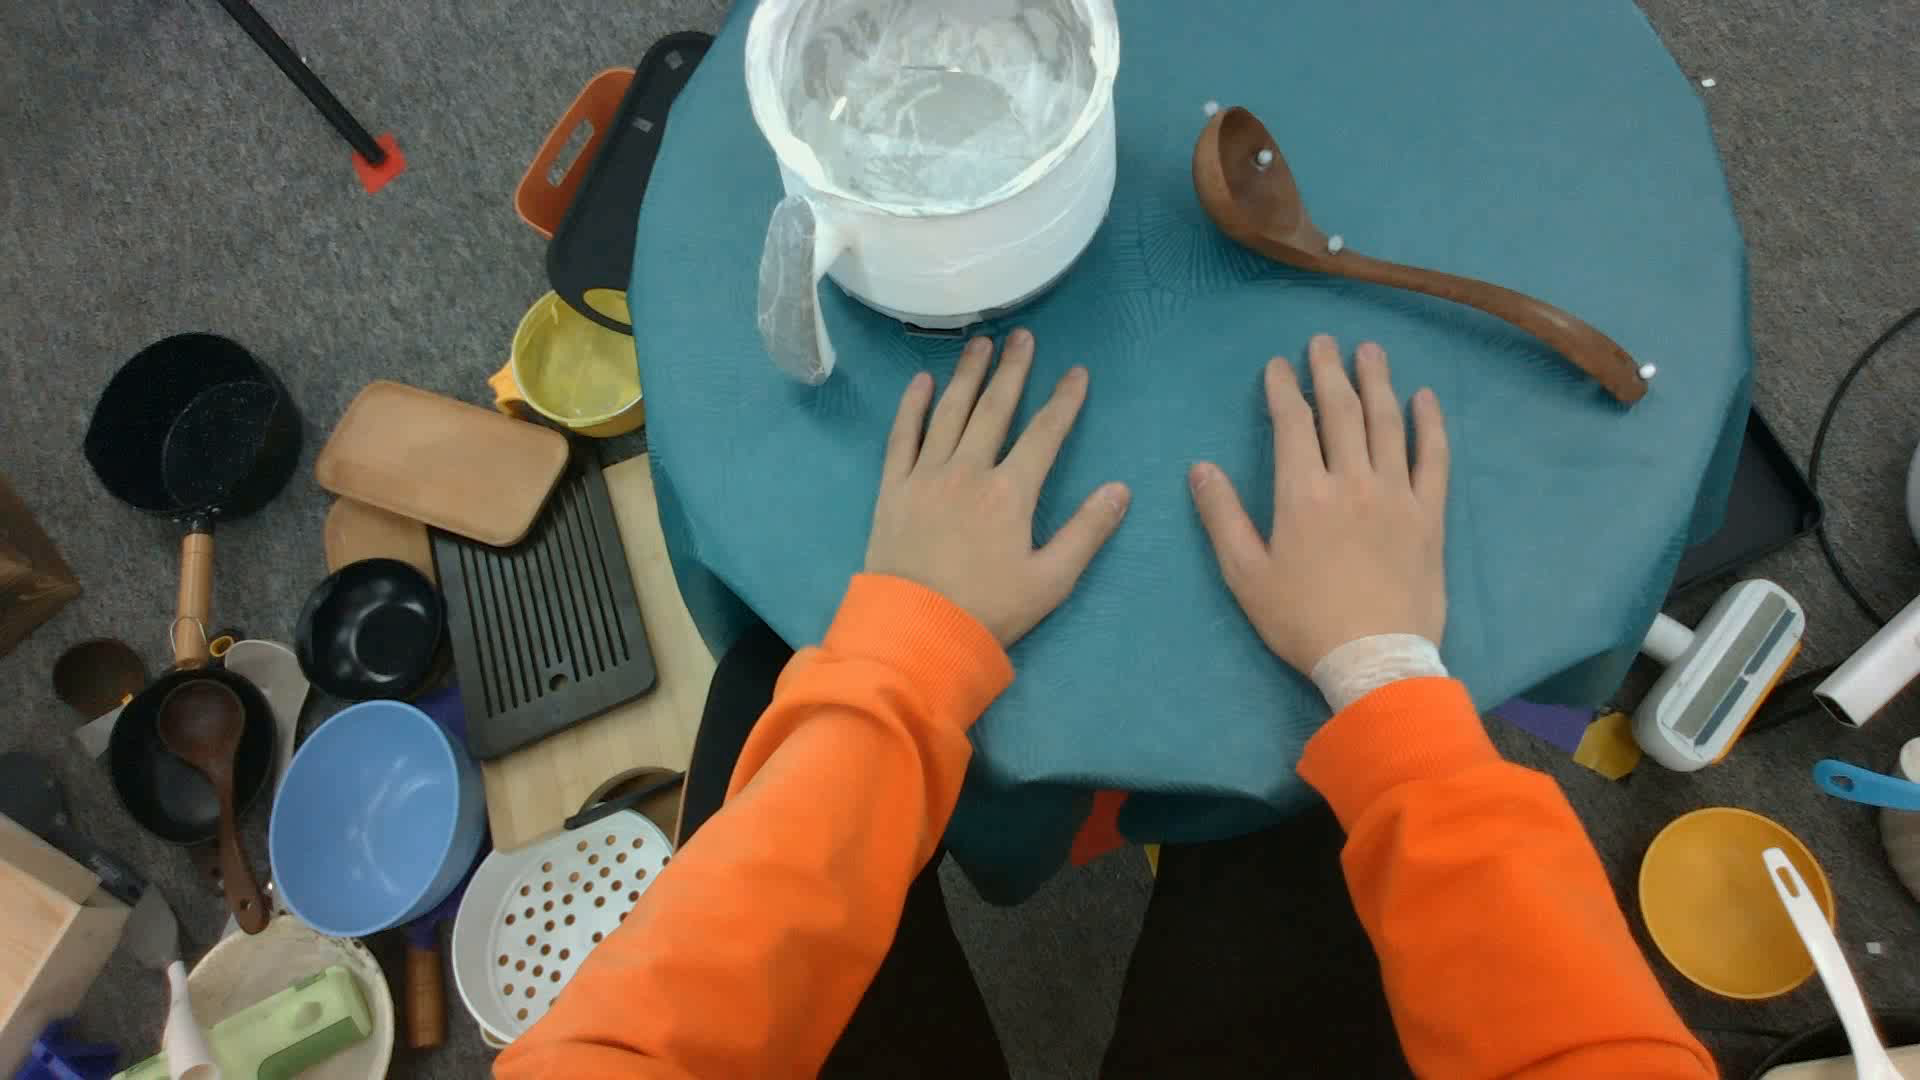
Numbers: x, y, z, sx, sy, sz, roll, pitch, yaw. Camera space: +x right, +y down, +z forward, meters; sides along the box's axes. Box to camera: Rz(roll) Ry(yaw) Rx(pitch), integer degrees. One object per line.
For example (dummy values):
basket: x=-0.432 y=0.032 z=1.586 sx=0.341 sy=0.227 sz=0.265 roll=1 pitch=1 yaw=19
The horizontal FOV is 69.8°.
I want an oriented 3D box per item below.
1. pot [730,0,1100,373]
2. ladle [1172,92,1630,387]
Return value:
pot: x=-0.032 y=-0.196 z=0.704 sx=0.179 sy=0.136 sz=0.234 roll=32 pitch=78 yaw=14
ladle: x=0.228 y=-0.155 z=0.708 sx=0.260 sy=0.065 sz=0.077 roll=26 pitch=51 yaw=13
